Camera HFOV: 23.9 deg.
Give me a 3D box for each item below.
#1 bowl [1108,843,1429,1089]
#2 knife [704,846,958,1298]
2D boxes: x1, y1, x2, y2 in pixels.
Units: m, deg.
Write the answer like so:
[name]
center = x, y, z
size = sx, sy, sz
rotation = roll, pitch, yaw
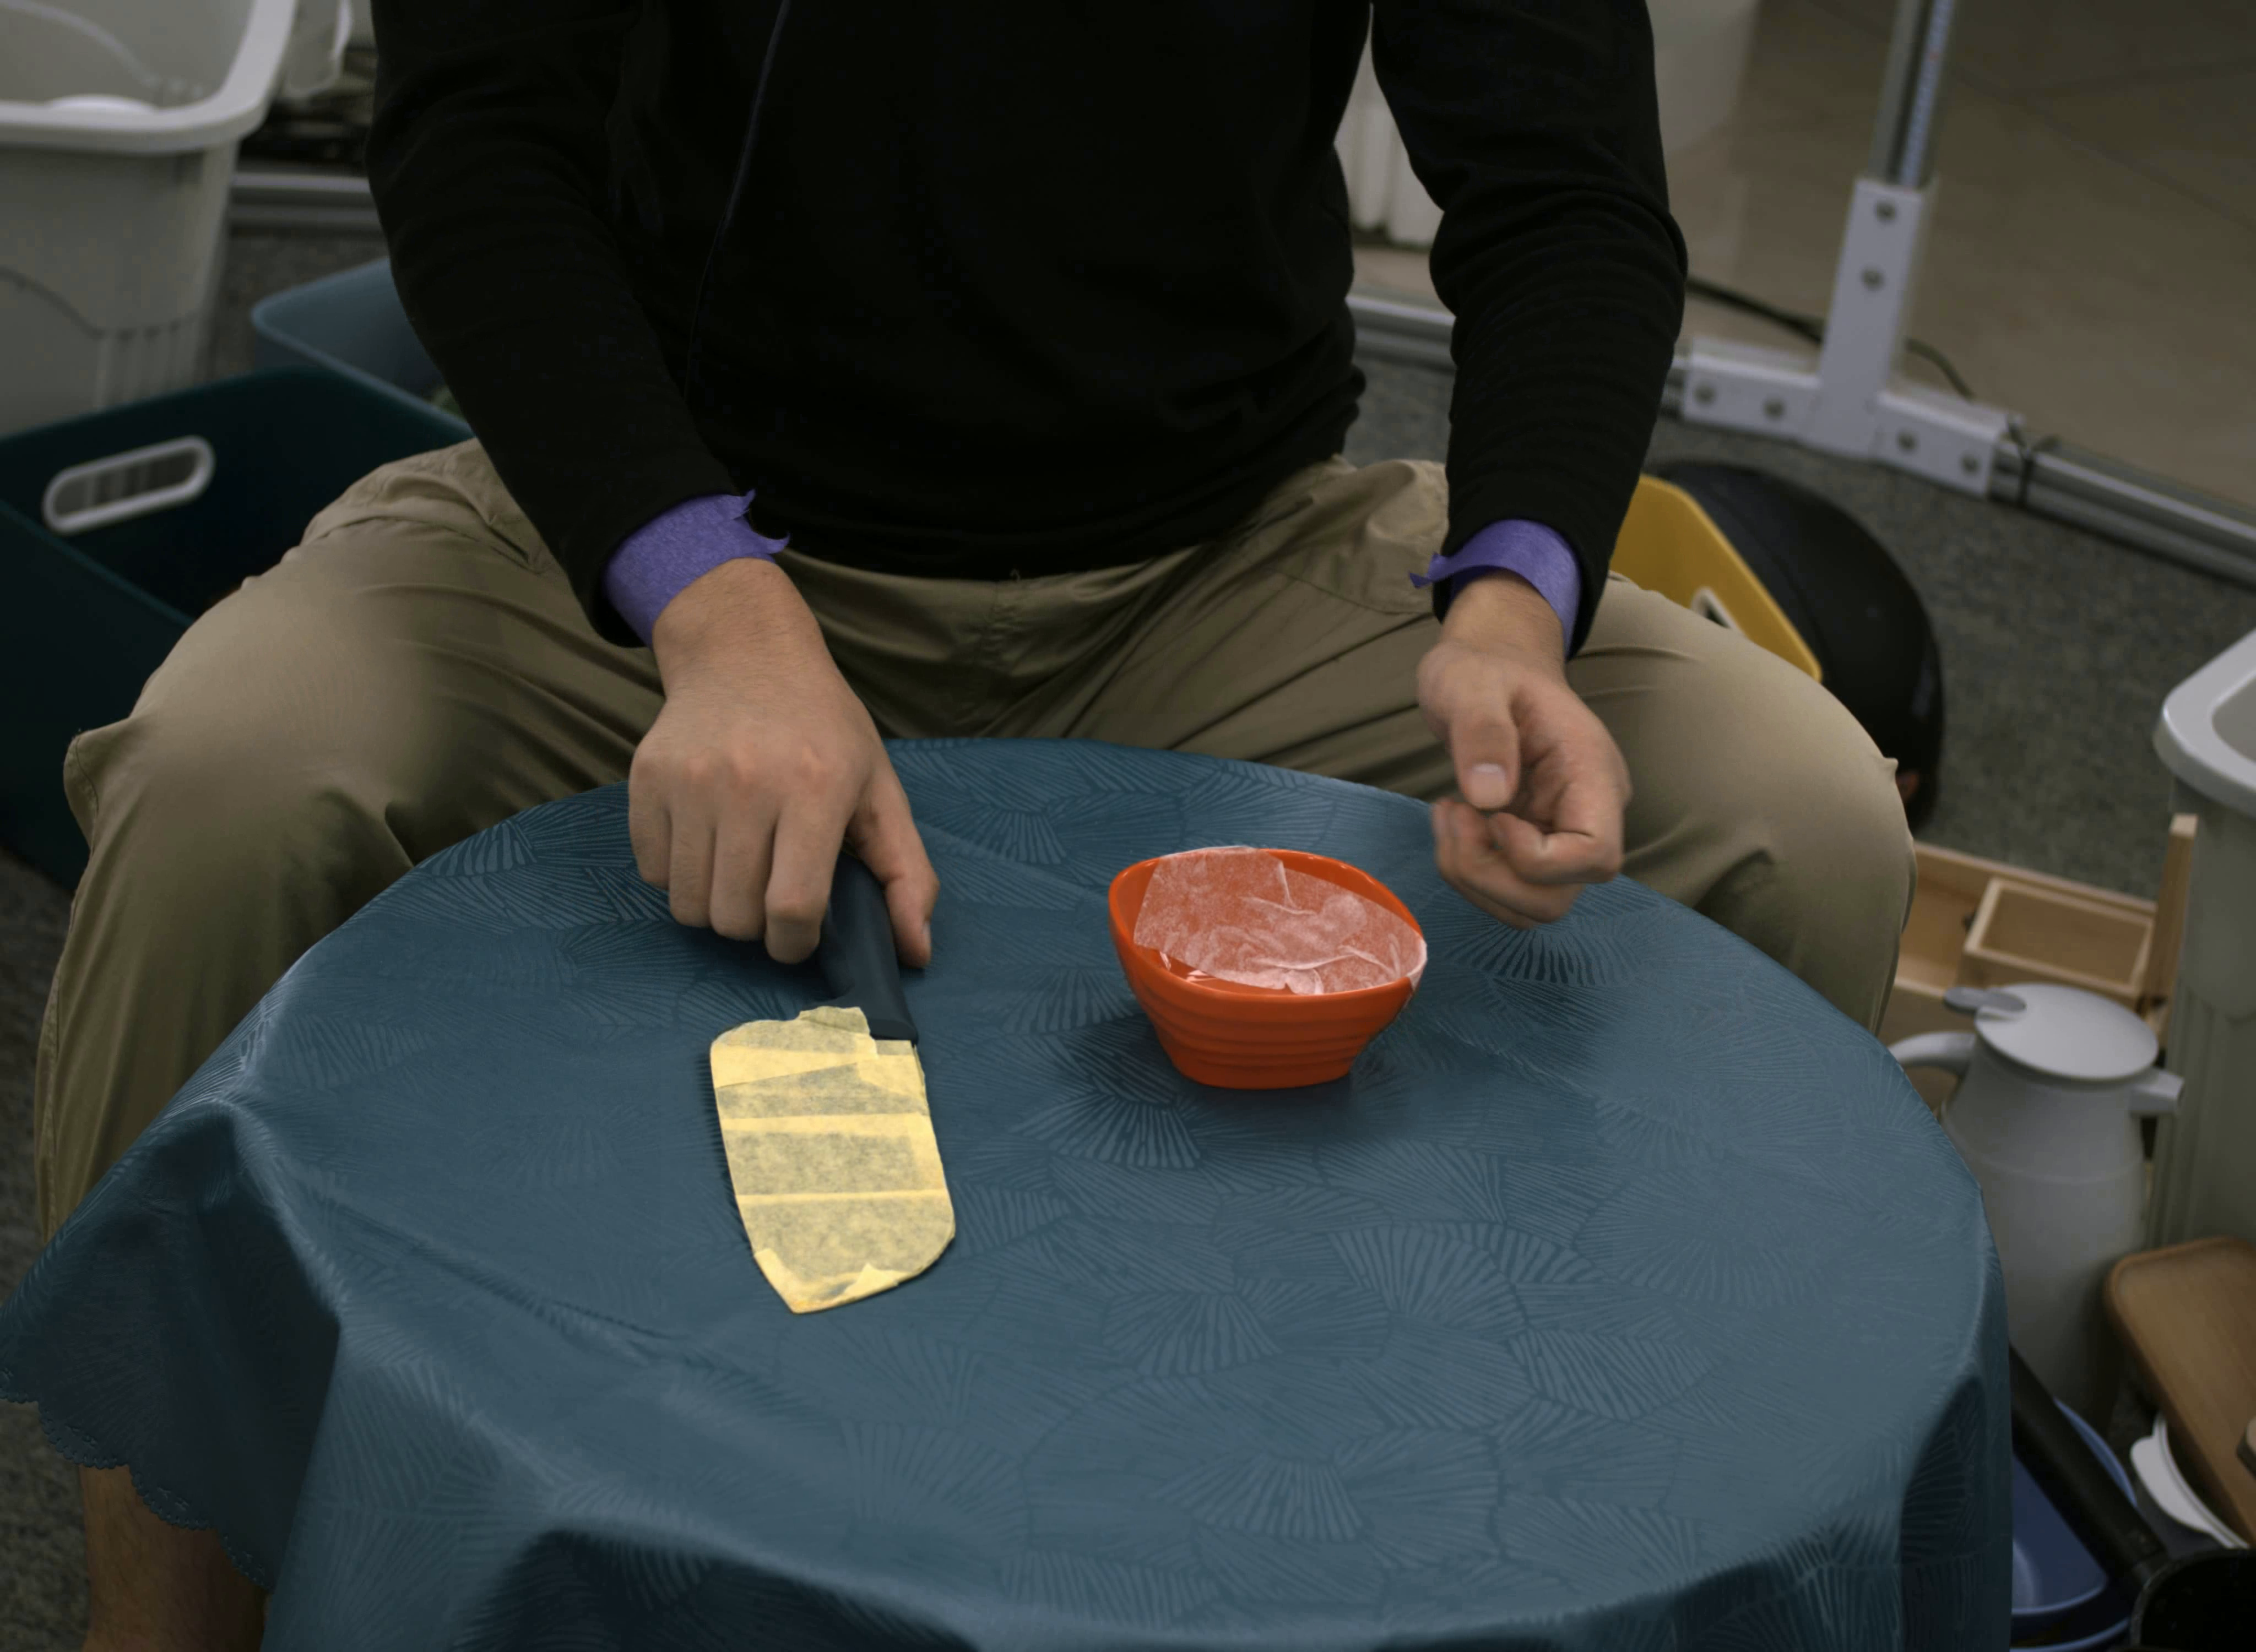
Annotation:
[bowl]
center = 0.047, 0.054, 1.894
size = 0.118, 0.051, 0.119
rotation = 4, 29, -3
[knife]
center = -0.106, 0.083, 1.846
size = 0.080, 0.027, 0.291
rotation = 3, 28, -9
